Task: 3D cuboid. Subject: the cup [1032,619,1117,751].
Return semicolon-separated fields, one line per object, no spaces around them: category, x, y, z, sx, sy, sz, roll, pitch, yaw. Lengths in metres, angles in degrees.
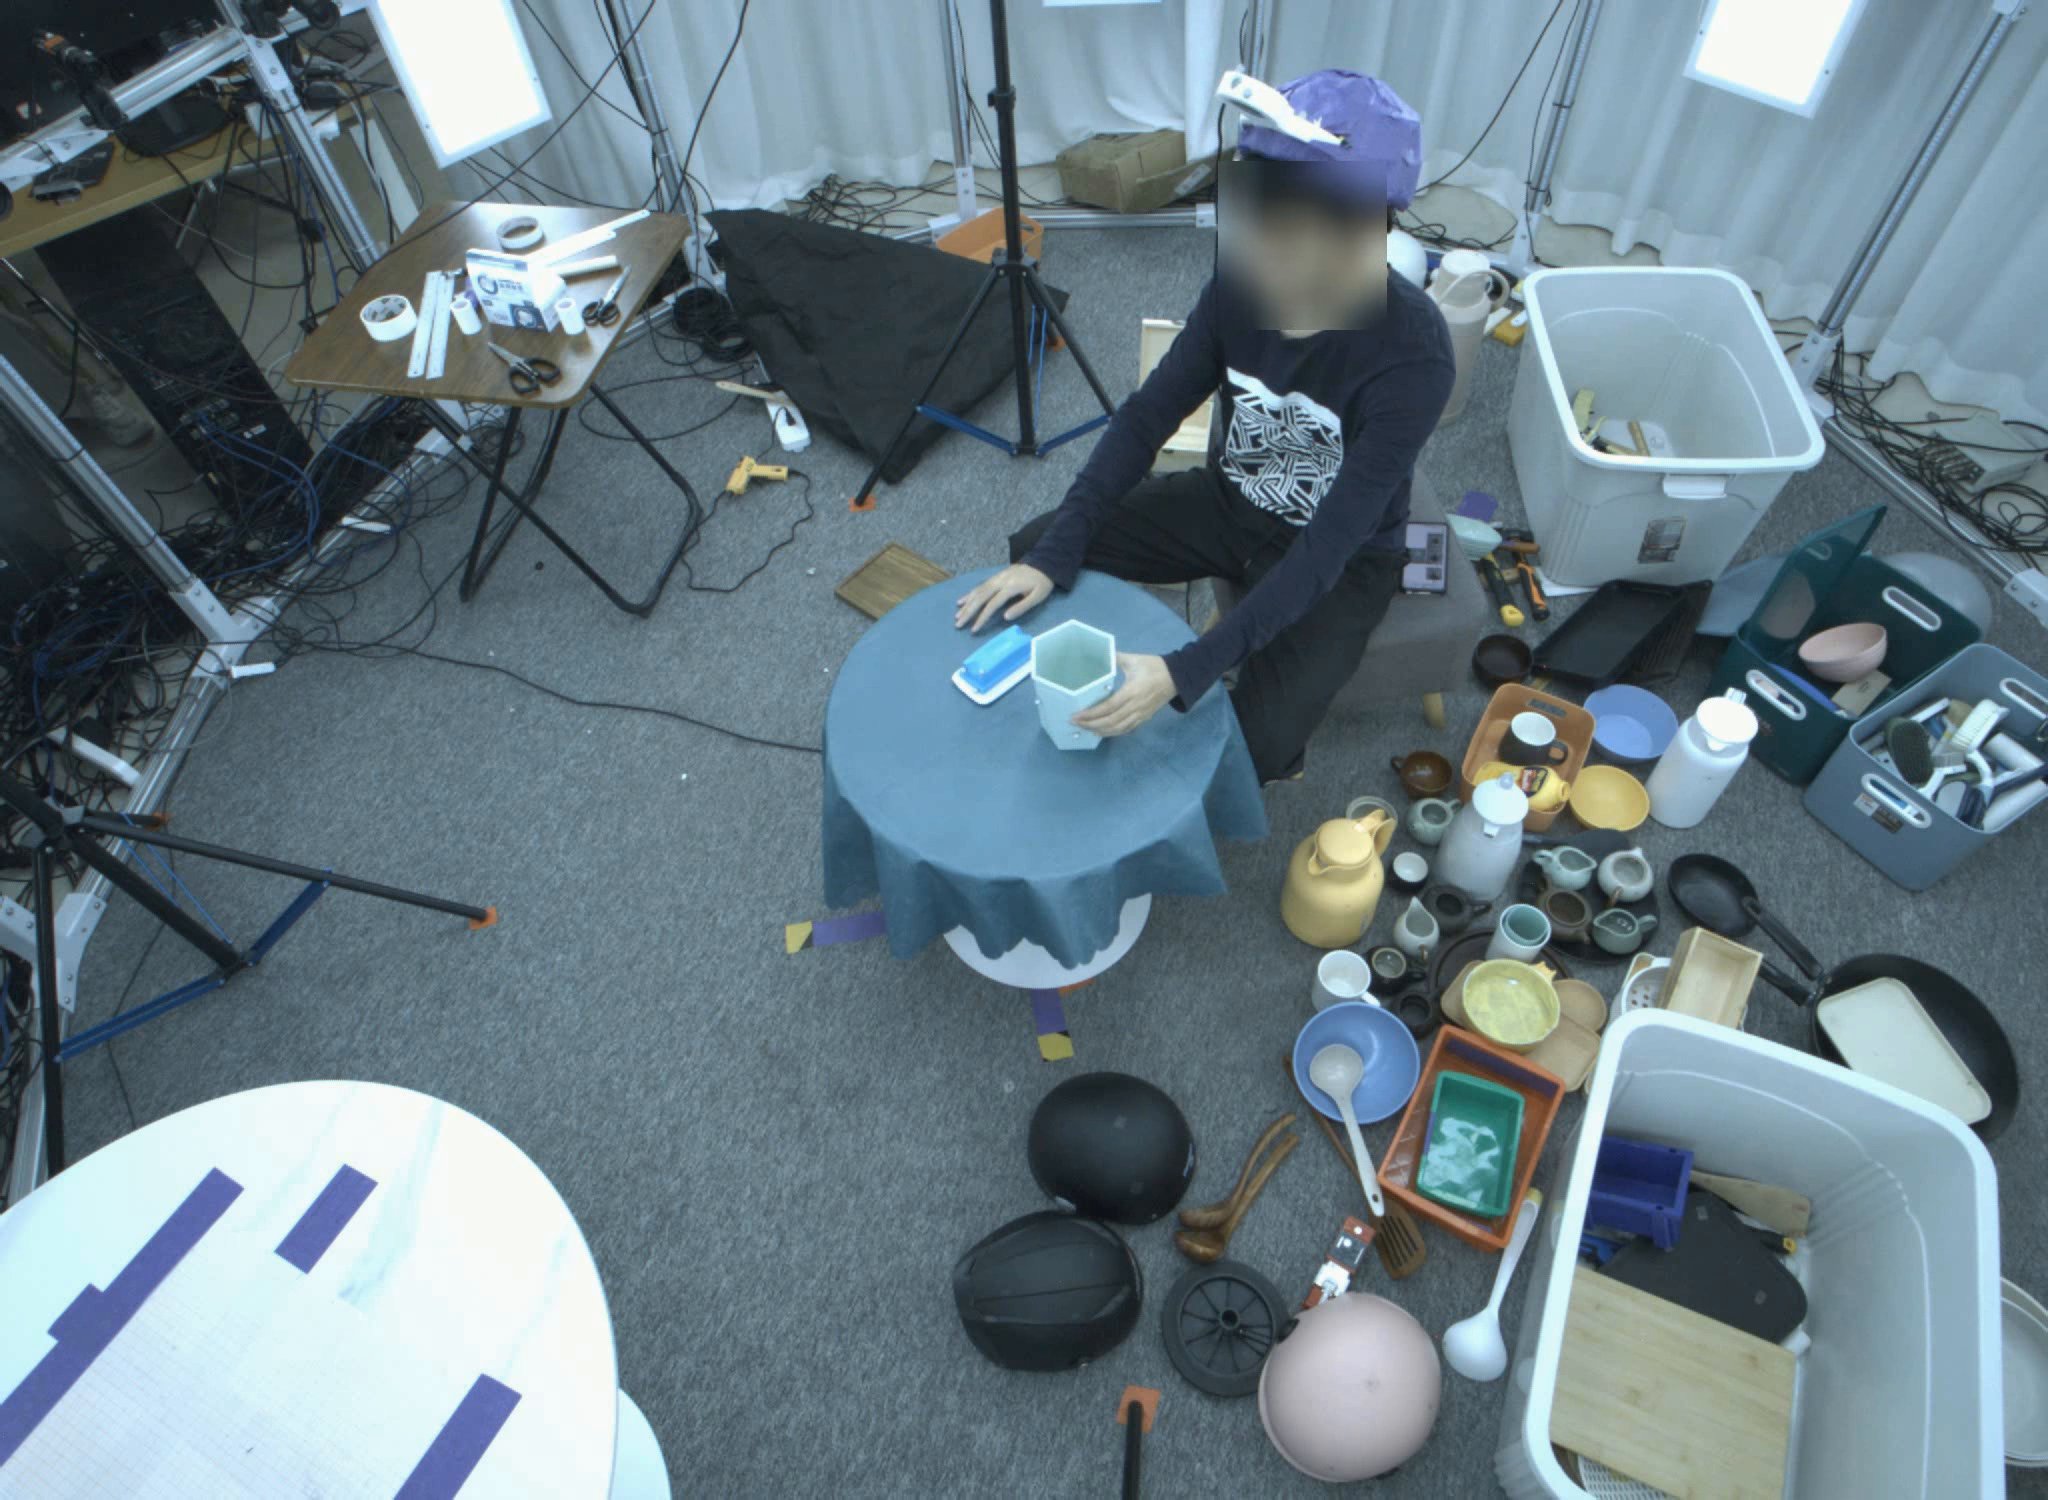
cup;0.071;-0.081;1.734;0.129;0.164;0.115;23;58;18

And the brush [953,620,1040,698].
brush;-0.035;-0.145;1.847;0.145;0.056;0.082;-38;64;-19
